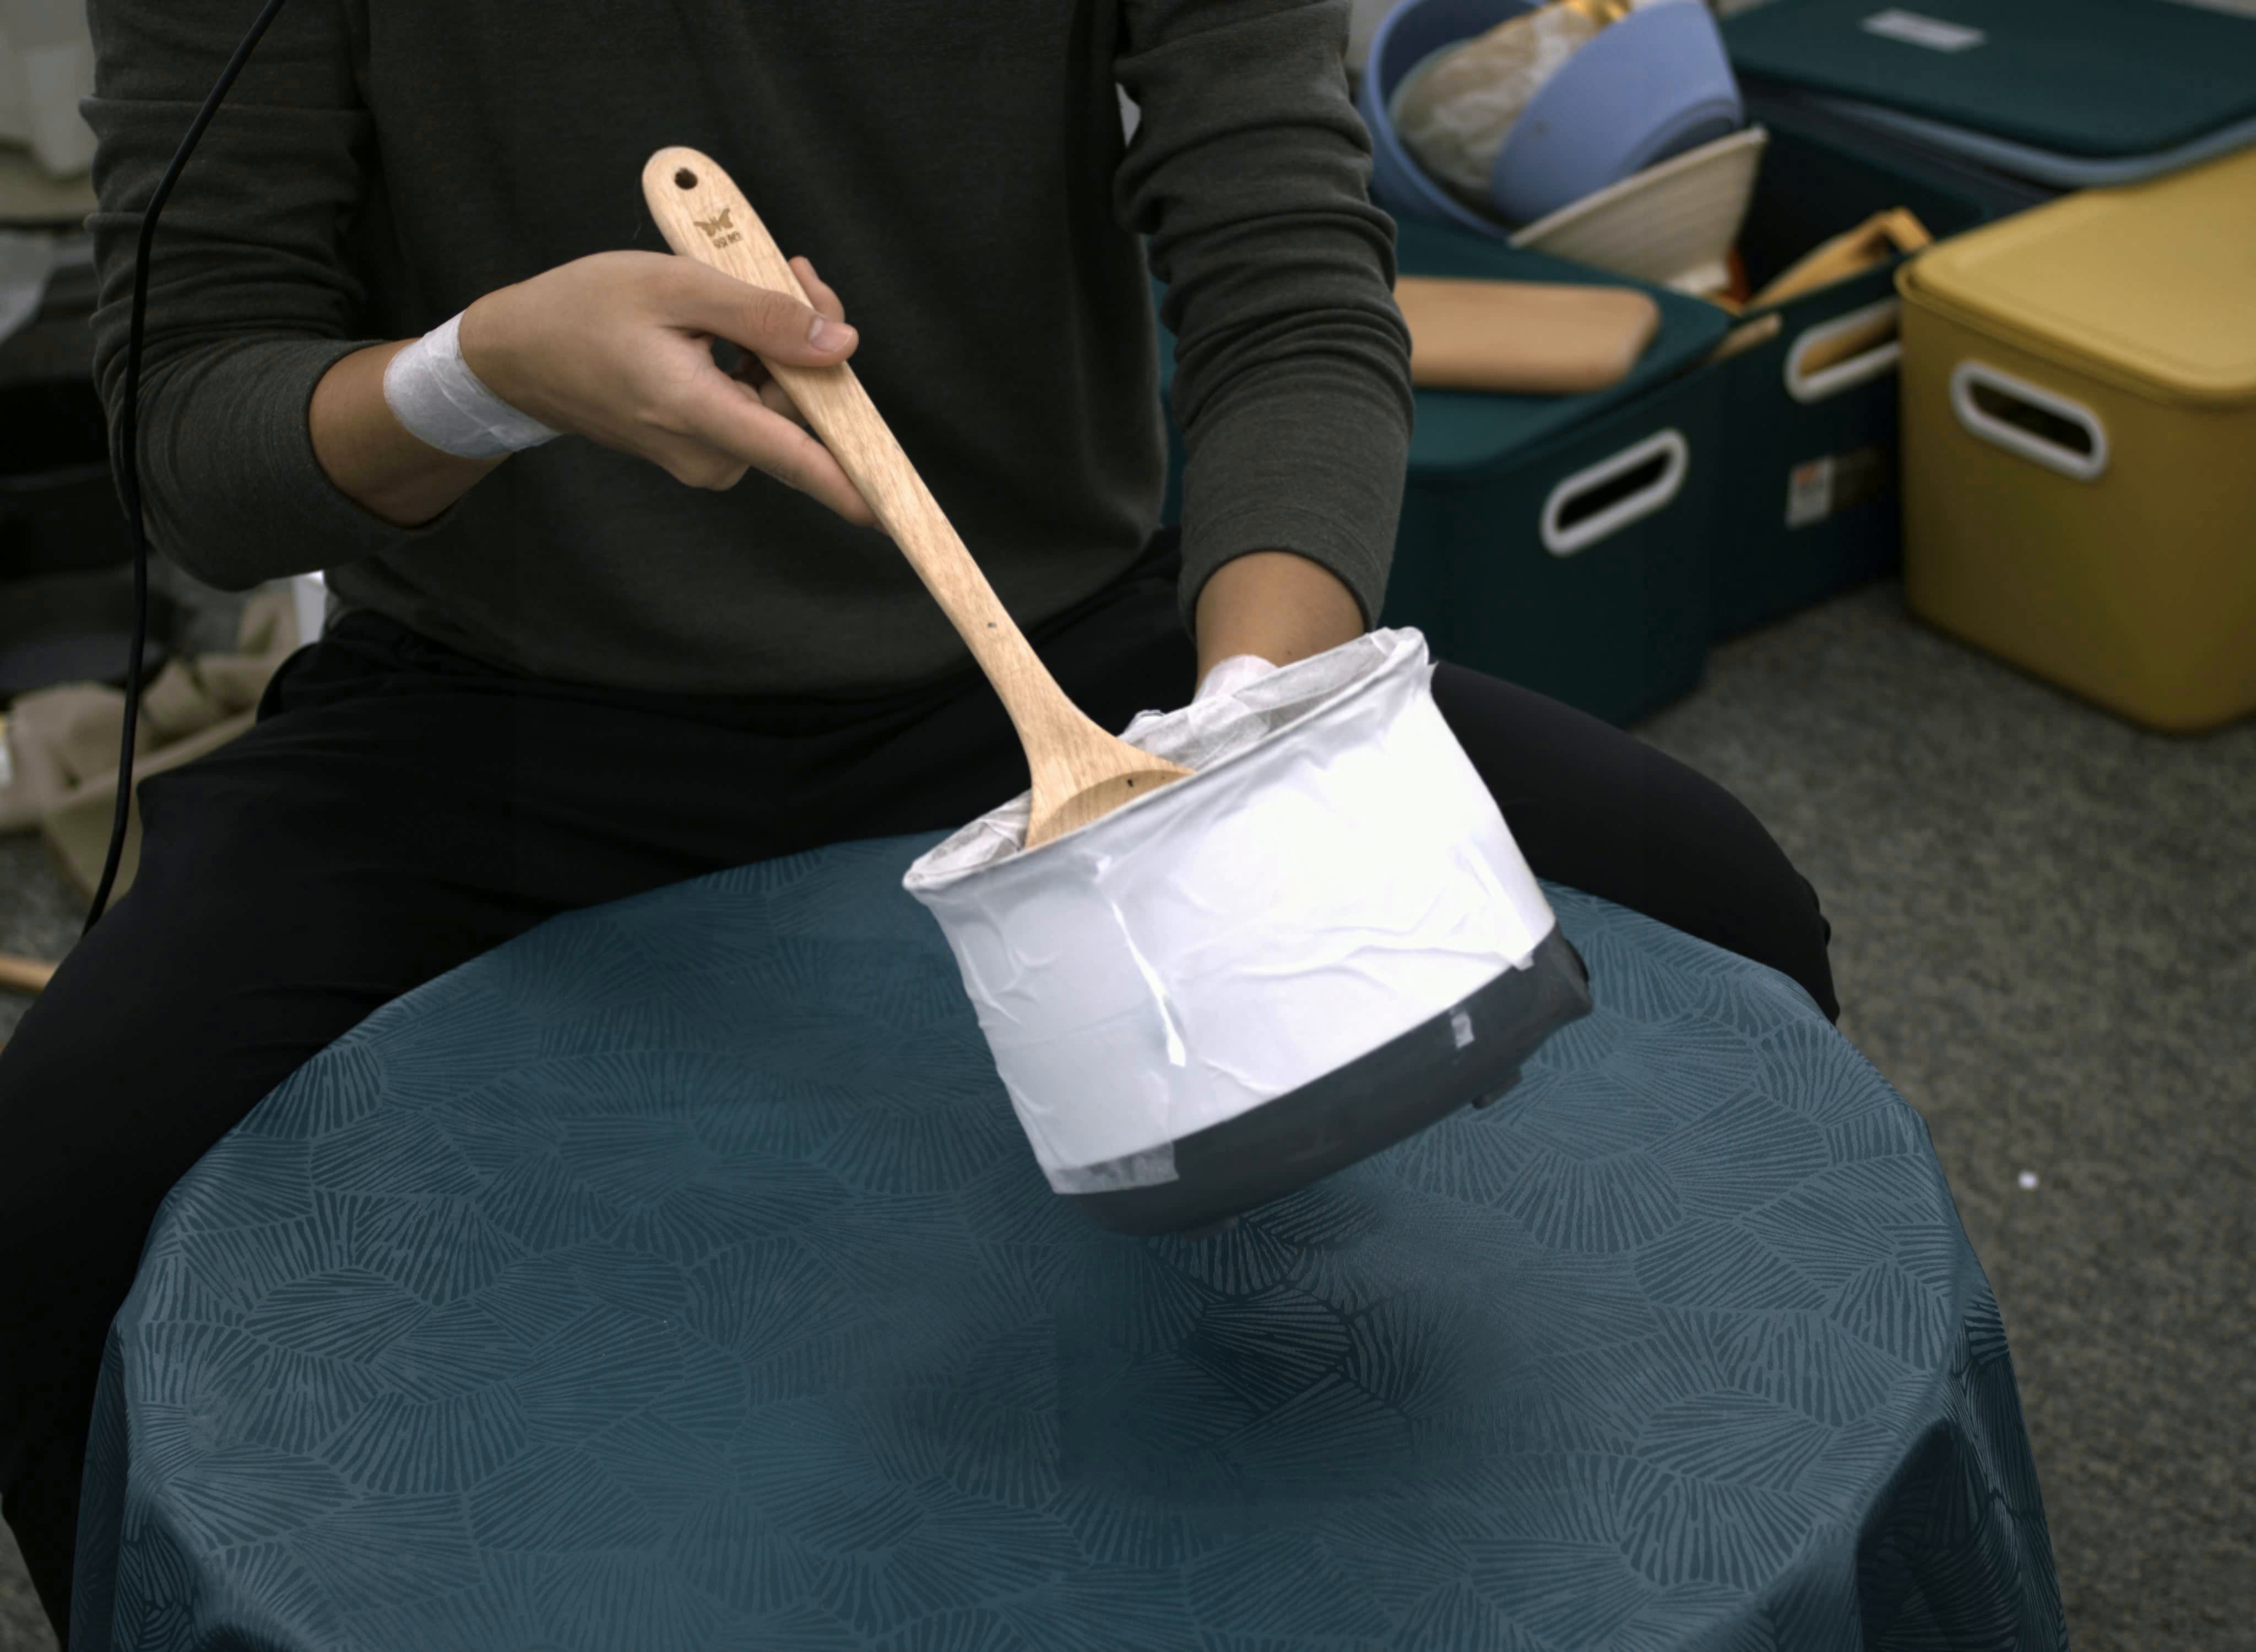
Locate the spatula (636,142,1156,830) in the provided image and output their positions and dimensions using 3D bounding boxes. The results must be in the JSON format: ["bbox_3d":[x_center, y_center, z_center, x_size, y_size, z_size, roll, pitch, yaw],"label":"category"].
[{"bbox_3d":[-0.066,-0.086,1.824,0.096,0.018,0.394,-22,60,-22],"label":"spatula"}]

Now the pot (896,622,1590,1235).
[{"bbox_3d":[0.035,0.031,1.747,0.178,0.136,0.234,-25,6,-1],"label":"pot"}]
